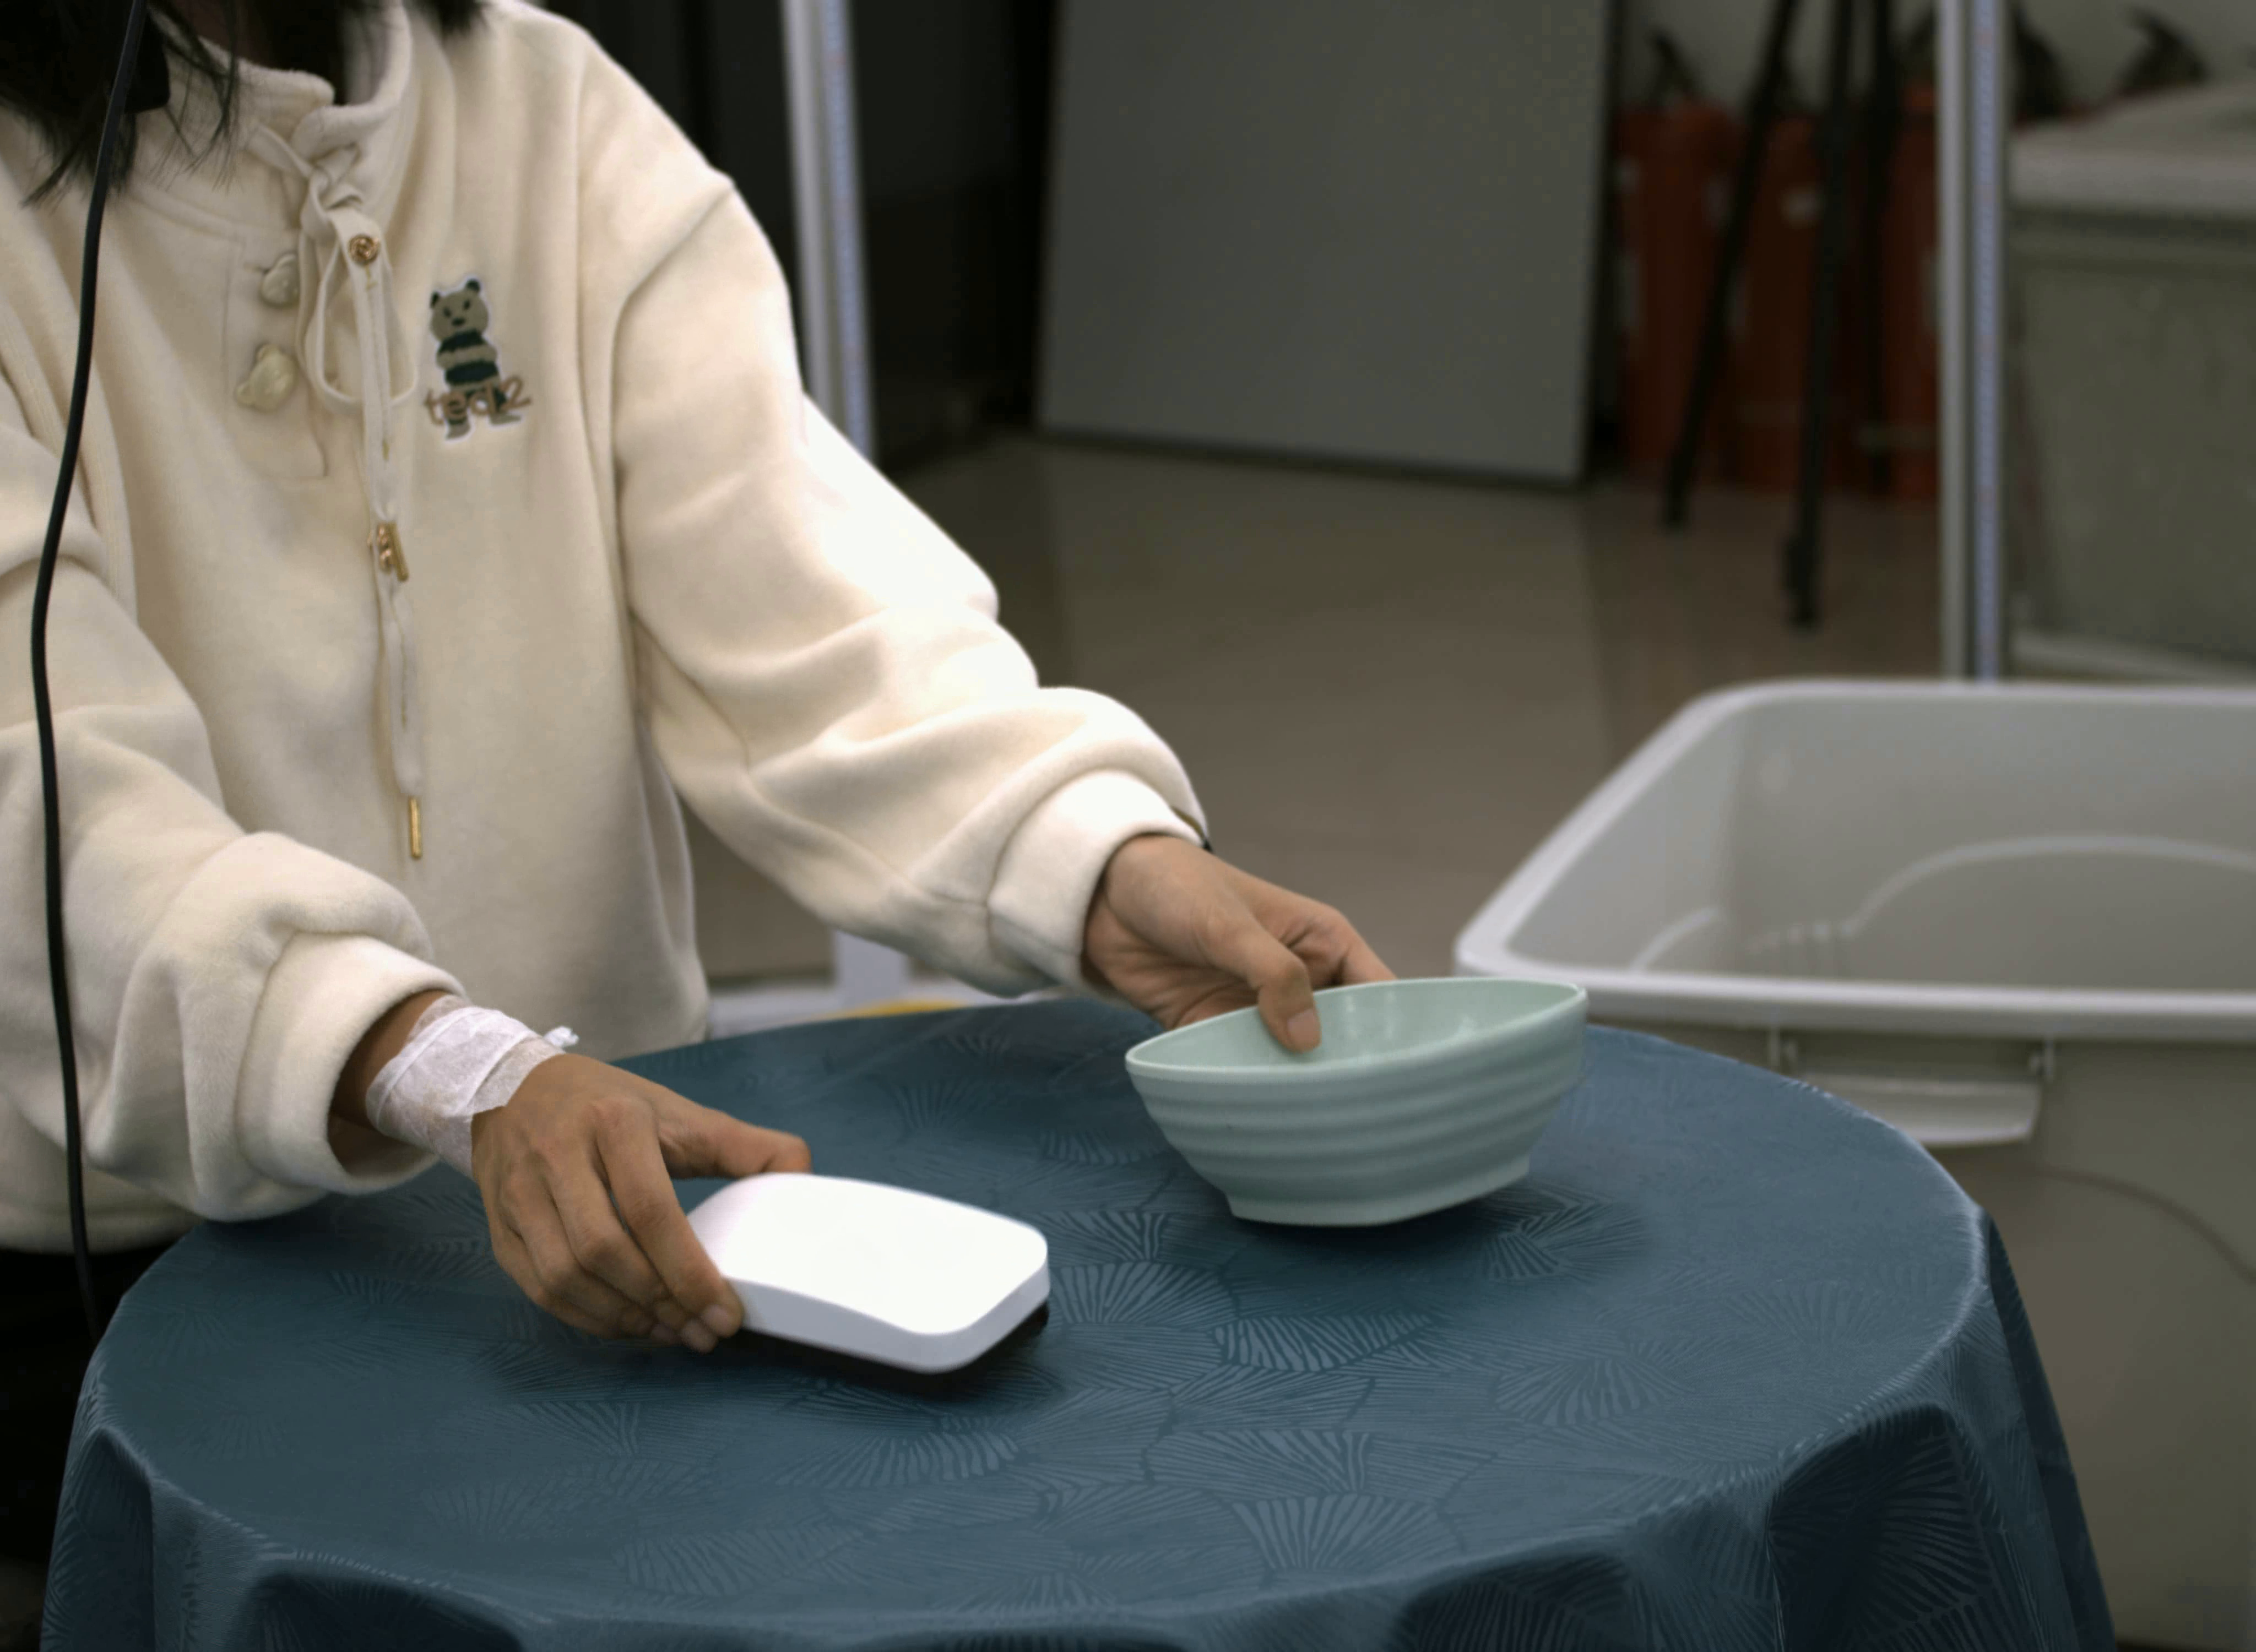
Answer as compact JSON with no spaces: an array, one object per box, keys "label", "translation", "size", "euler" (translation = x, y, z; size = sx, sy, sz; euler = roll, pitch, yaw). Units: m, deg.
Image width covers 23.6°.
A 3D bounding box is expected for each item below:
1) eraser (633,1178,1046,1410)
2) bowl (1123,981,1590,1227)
[{"label":"eraser","translation":[-0.086,0.139,1.626],"size":[0.132,0.035,0.062],"euler":[10,31,39]},{"label":"bowl","translation":[0.074,0.090,1.724],"size":[0.149,0.059,0.151],"euler":[-4,7,0]}]
